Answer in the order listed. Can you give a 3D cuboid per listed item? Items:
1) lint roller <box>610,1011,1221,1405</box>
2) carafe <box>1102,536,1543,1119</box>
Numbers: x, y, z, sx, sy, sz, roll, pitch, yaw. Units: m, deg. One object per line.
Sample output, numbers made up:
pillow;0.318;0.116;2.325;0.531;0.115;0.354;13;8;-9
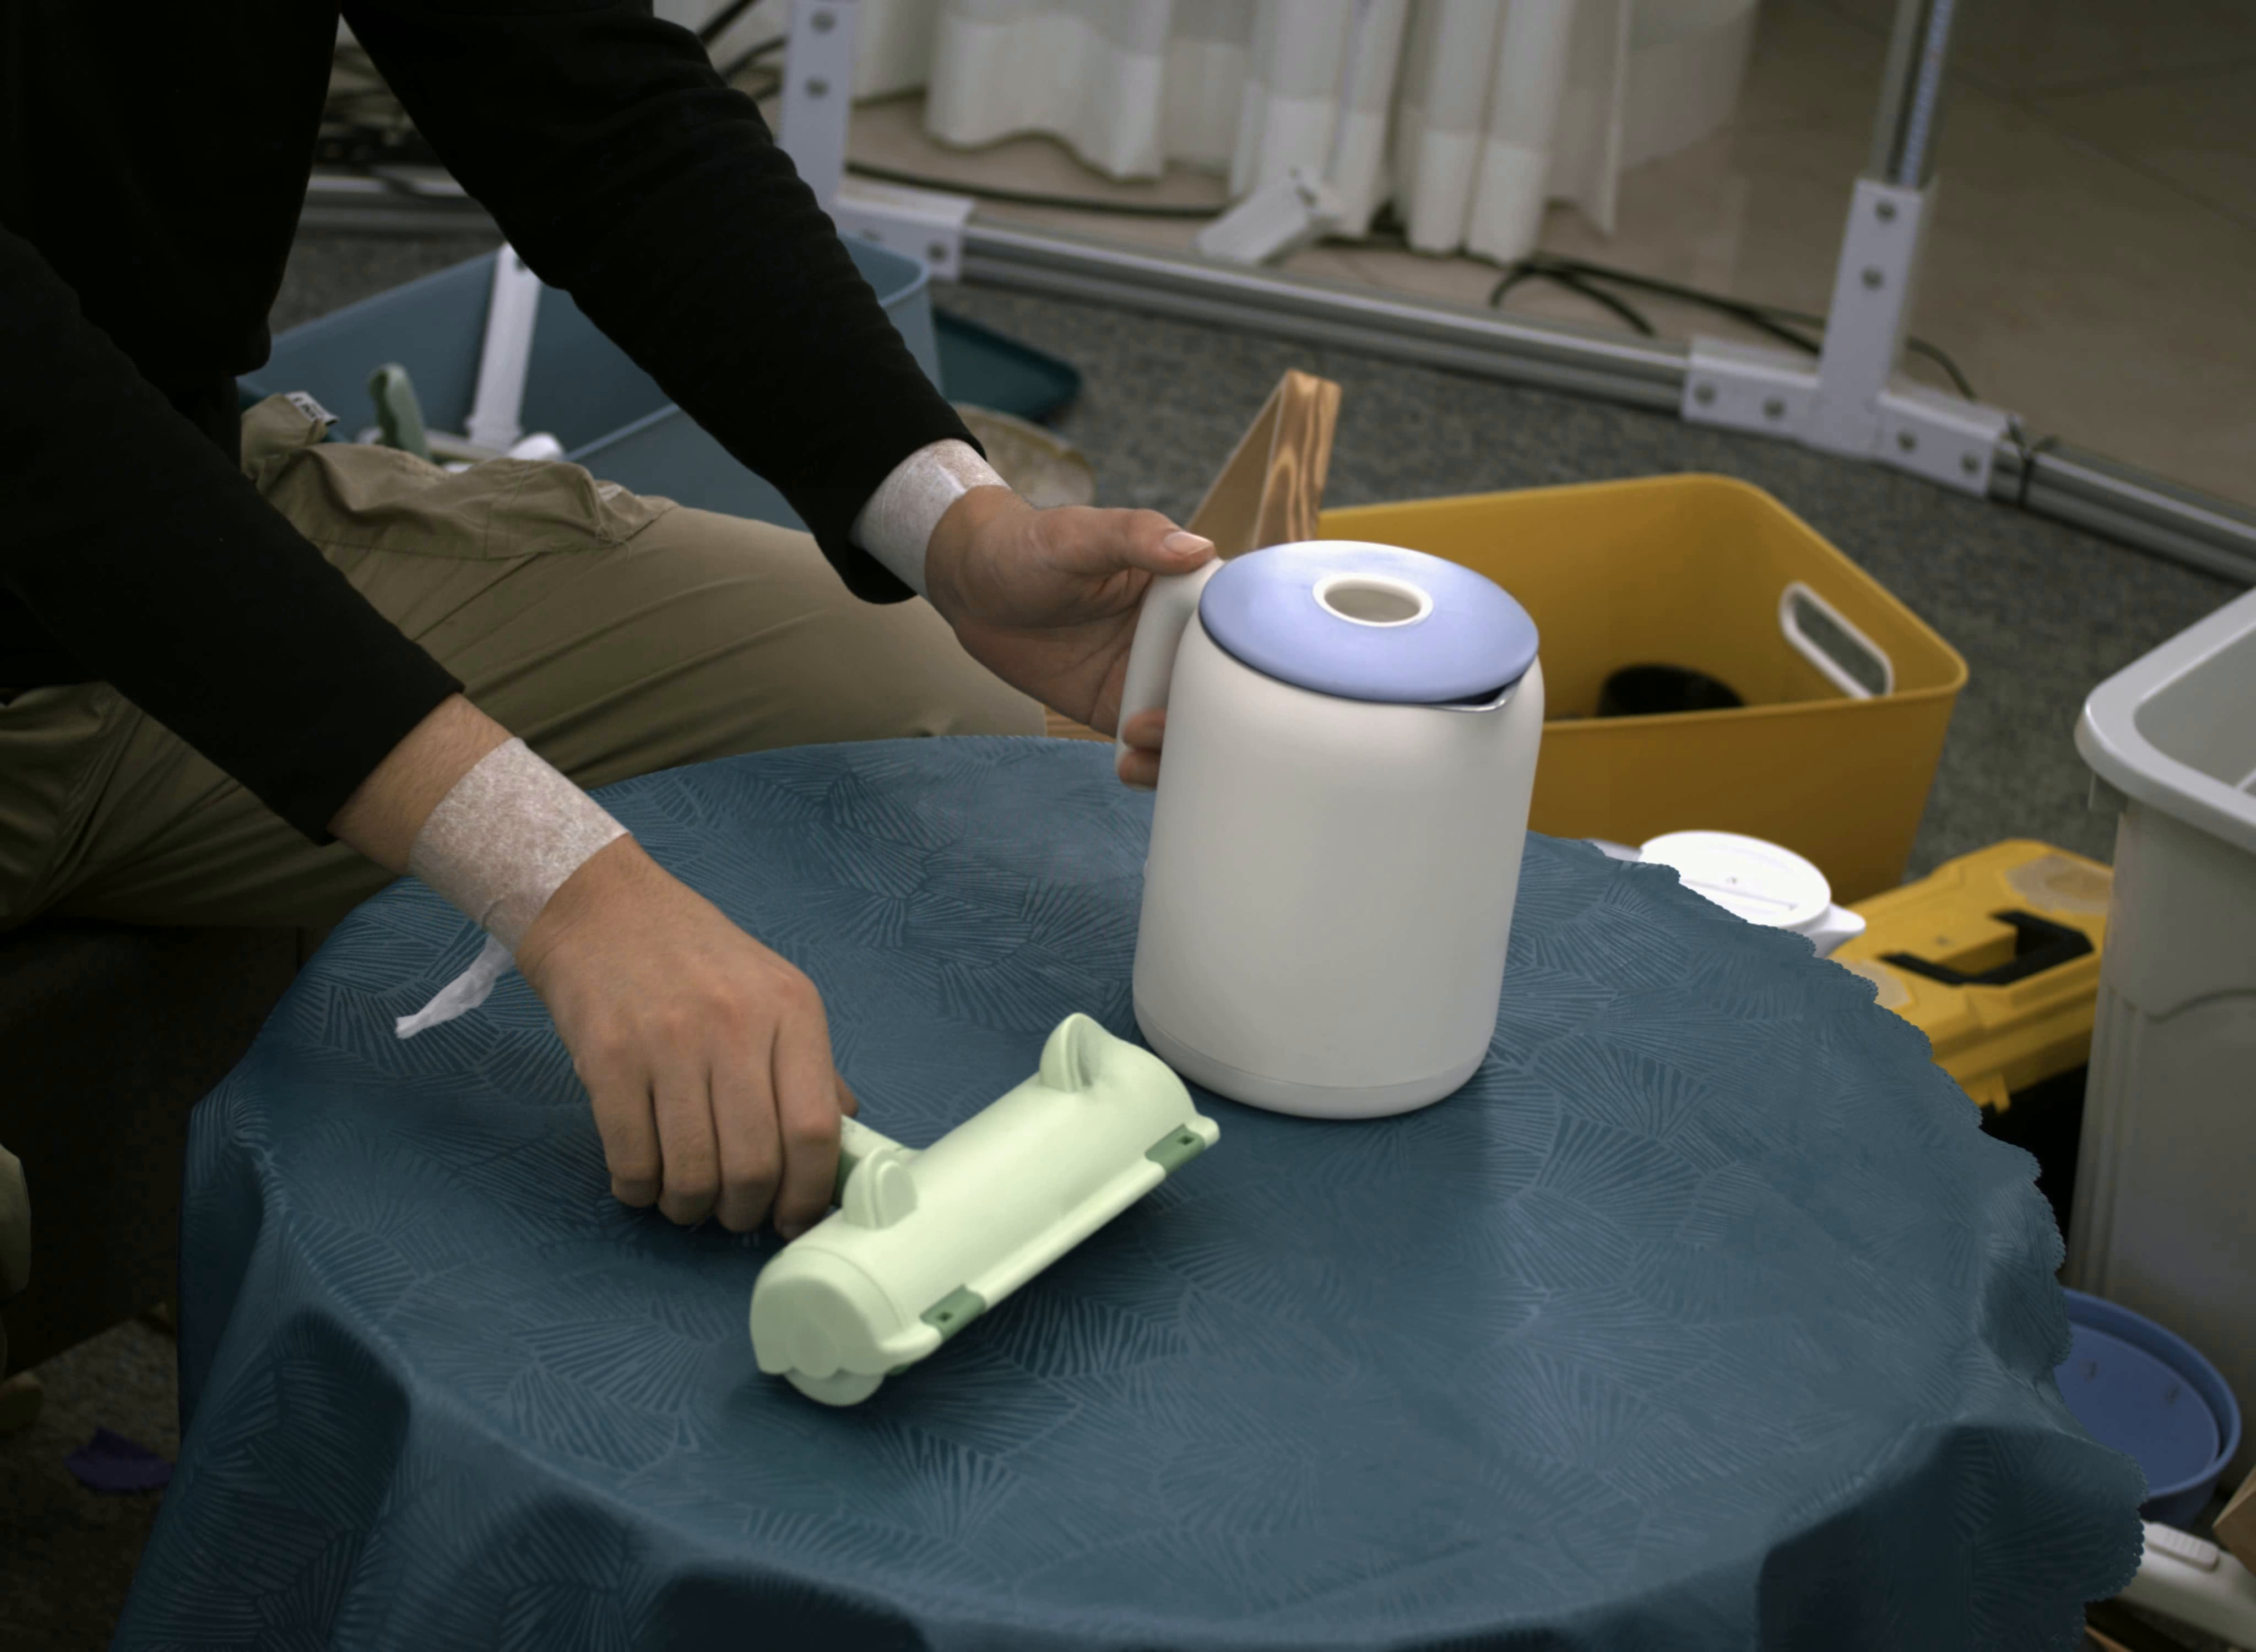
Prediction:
lint roller;-0.092;0.099;1.743;0.184;0.082;0.198;25;31;24
carafe;0.059;-0.010;1.888;0.131;0.182;0.192;-14;31;-37
